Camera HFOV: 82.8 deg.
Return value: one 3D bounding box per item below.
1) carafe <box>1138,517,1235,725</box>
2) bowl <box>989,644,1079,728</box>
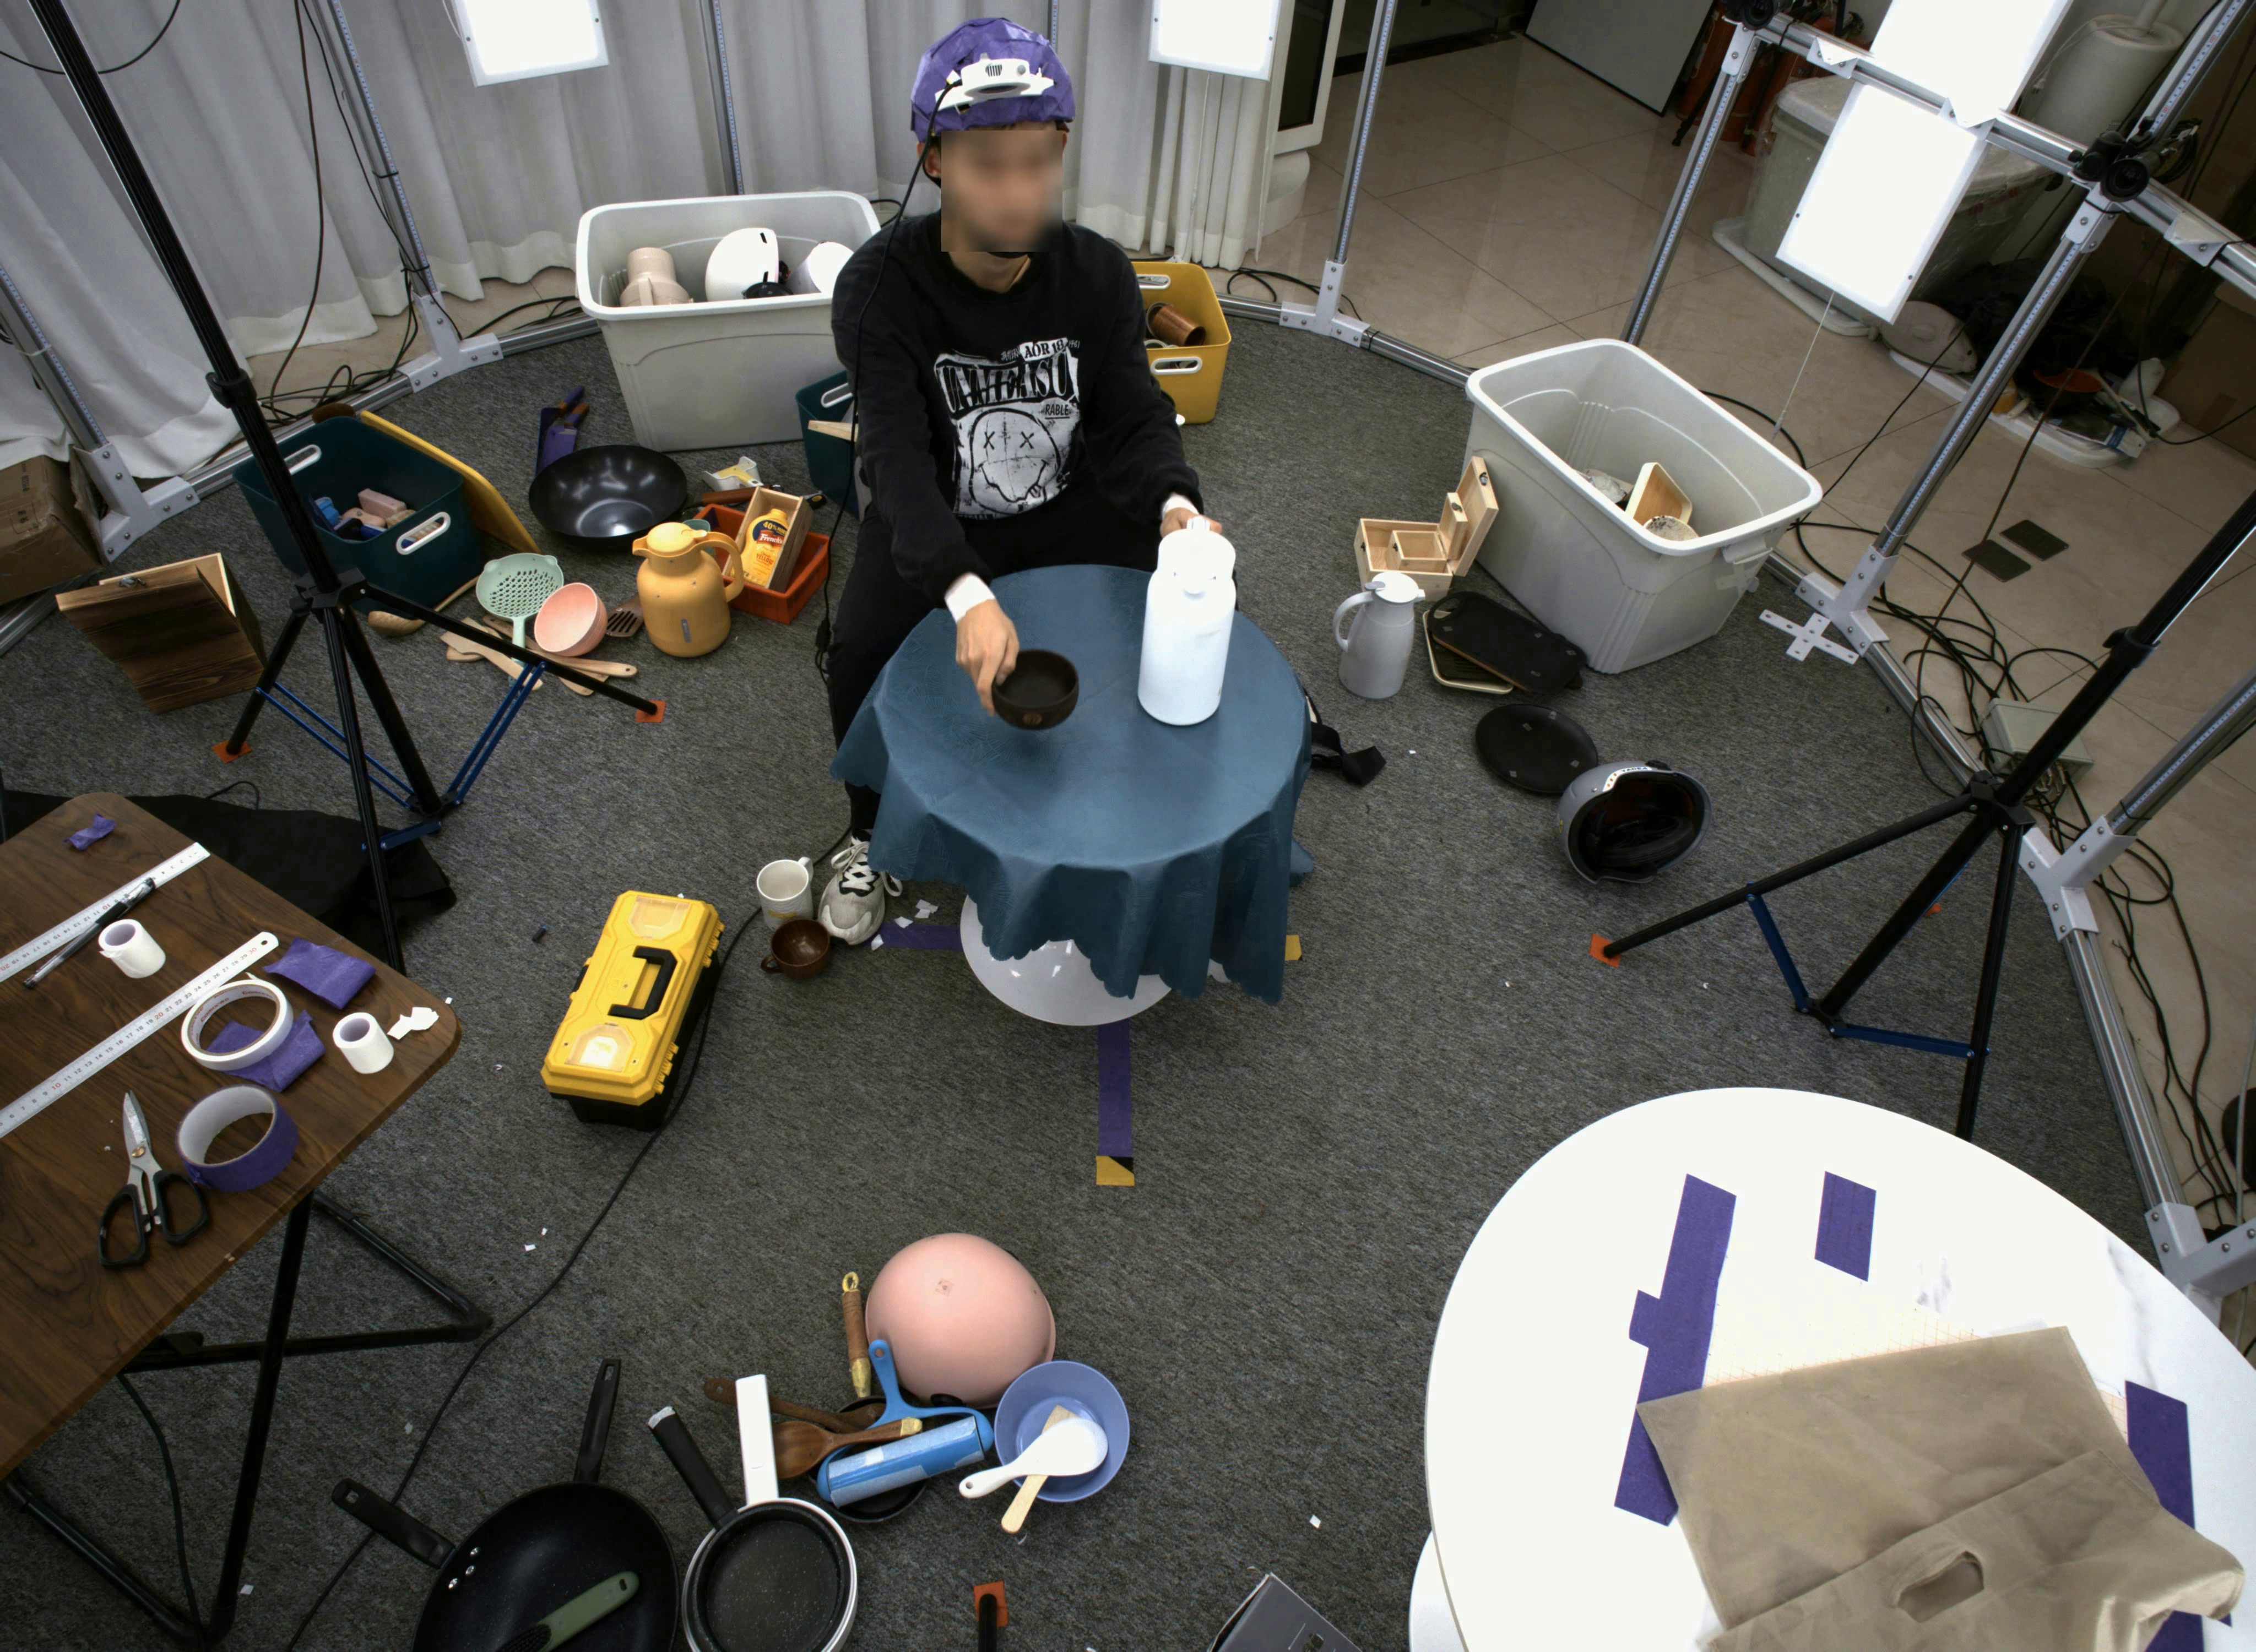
[{"bbox_3d":[0.079,-0.280,1.745,0.124,0.262,0.177,3,49,2],"label":"carafe"},{"bbox_3d":[-0.124,-0.177,1.697,0.118,0.068,0.121,2,49,-2],"label":"bowl"}]
